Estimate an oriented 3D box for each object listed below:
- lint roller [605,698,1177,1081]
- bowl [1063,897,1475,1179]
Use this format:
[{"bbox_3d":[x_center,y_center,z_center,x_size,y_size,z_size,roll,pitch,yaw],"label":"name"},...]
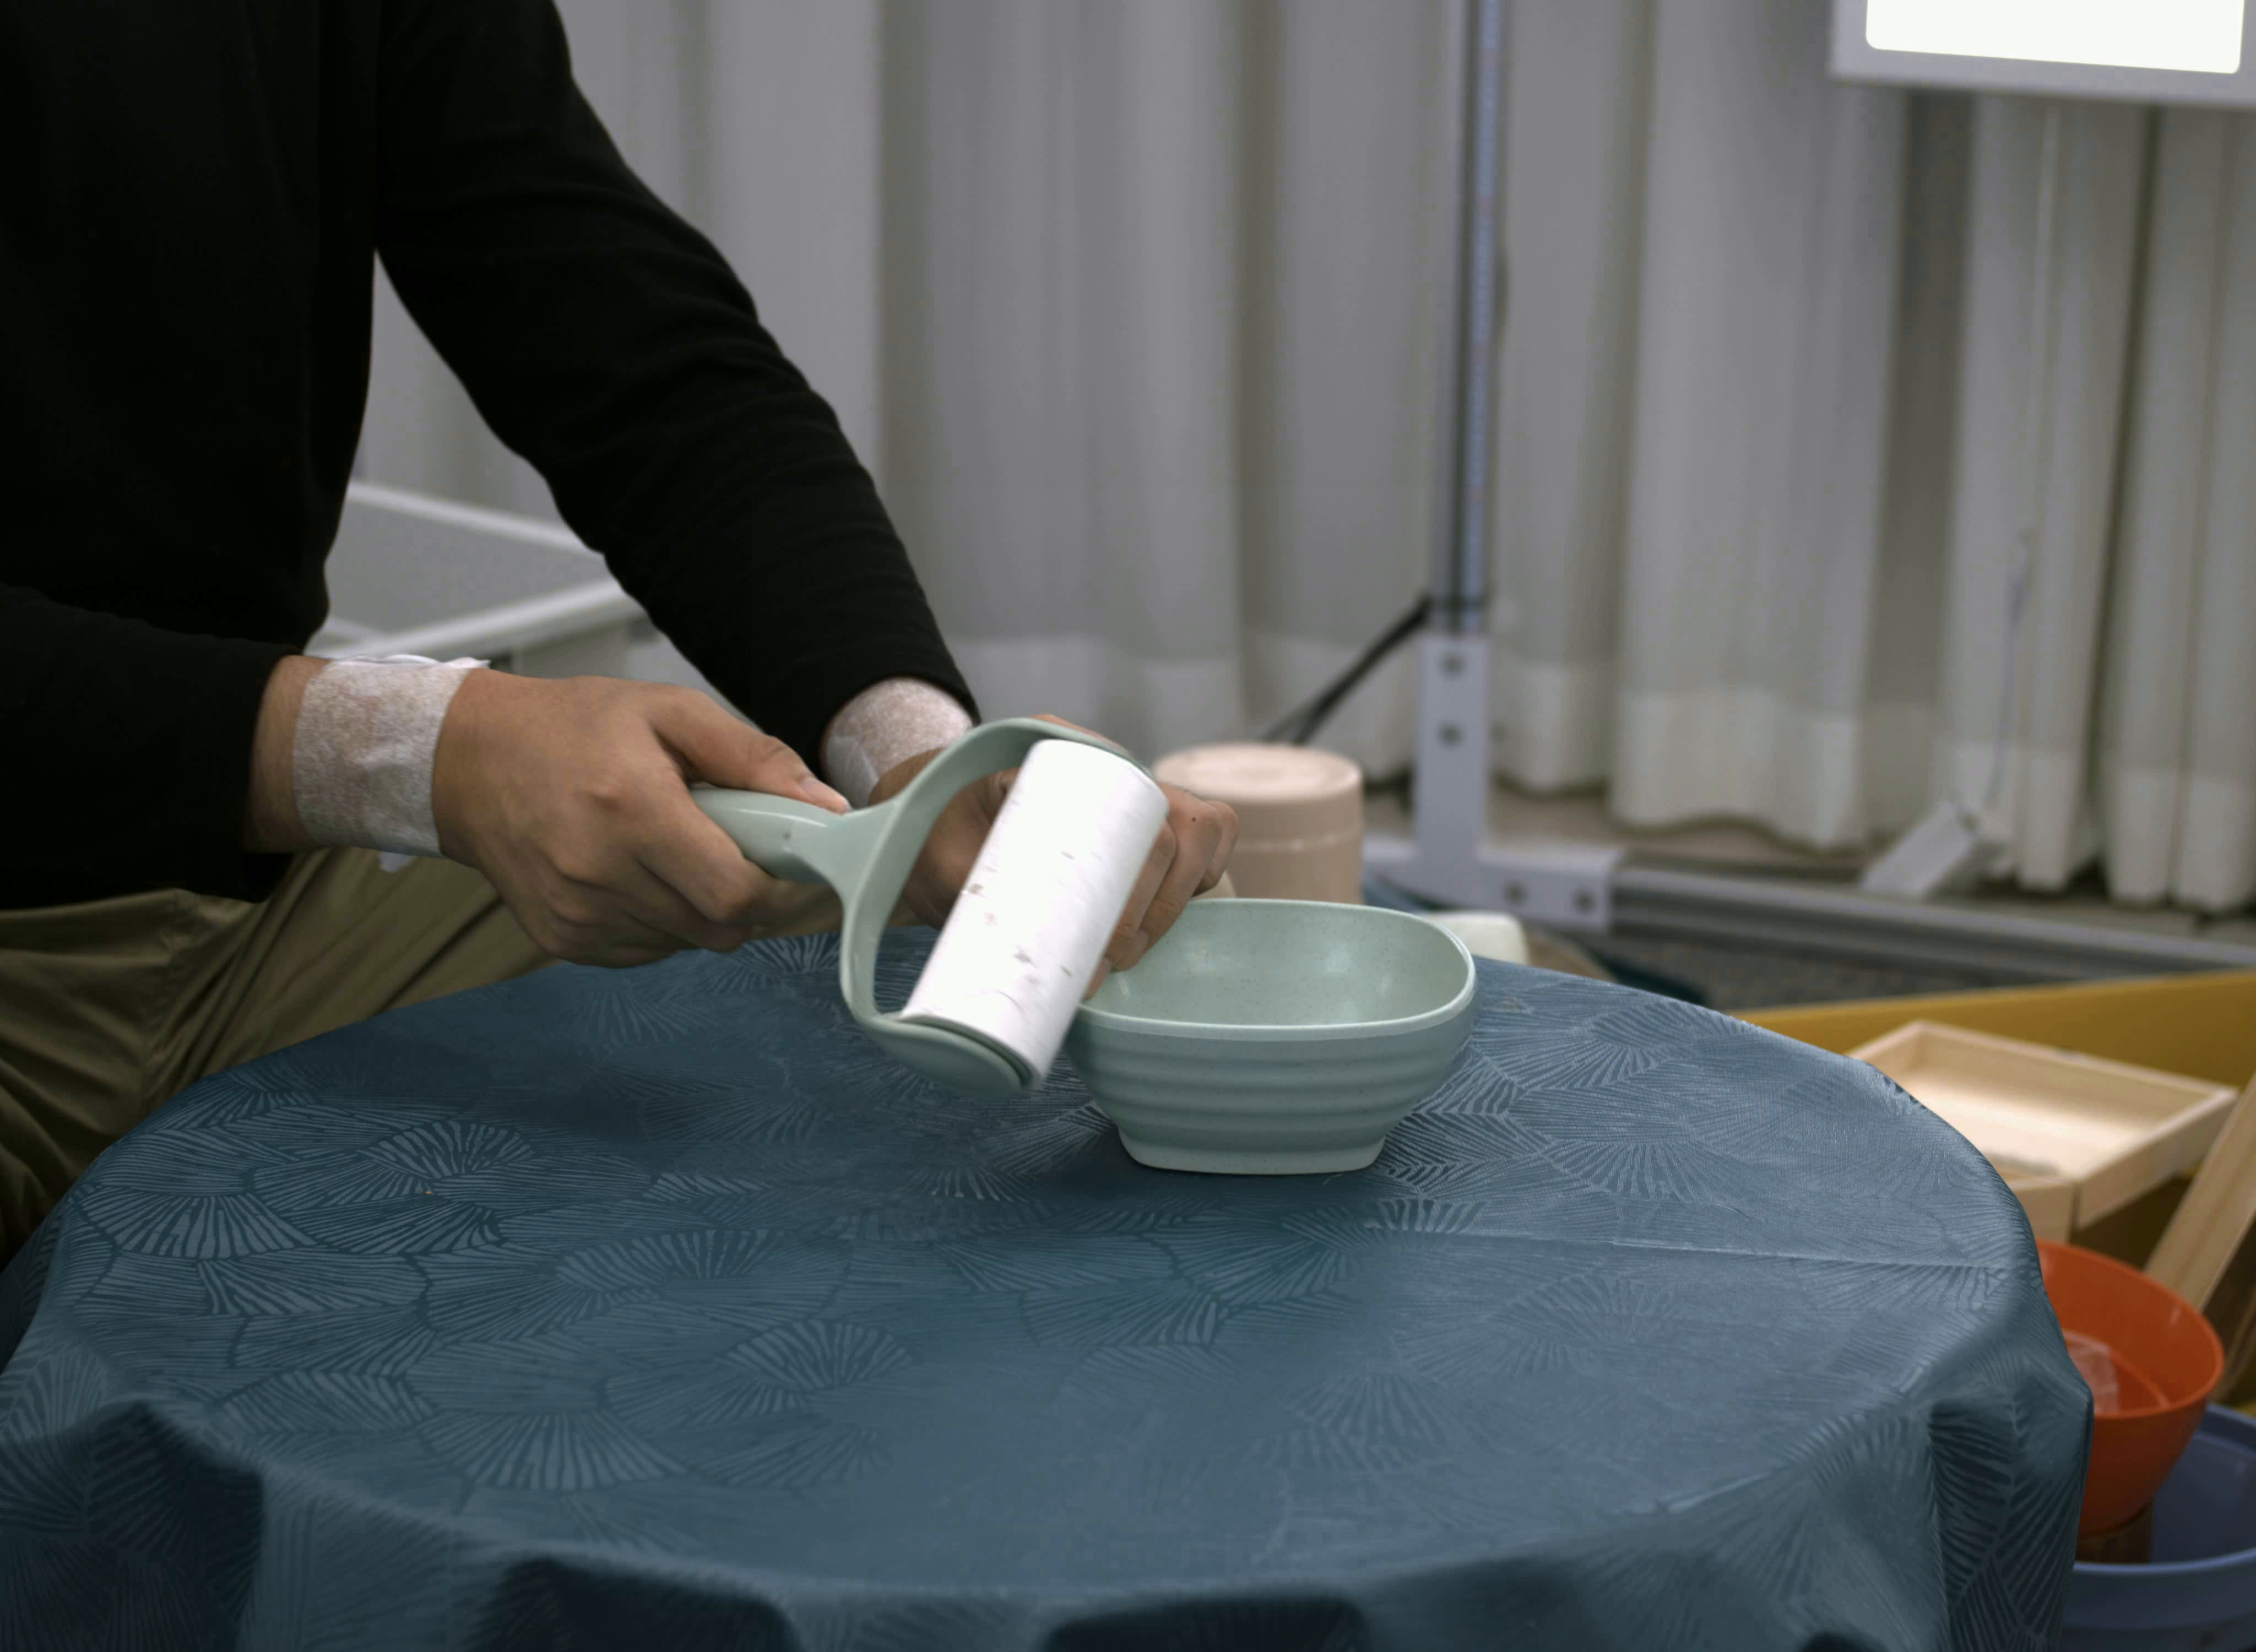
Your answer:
[{"bbox_3d":[-0.086,0.008,1.643,0.195,0.116,0.049,12,-23,29],"label":"lint roller"},{"bbox_3d":[0.039,0.070,1.667,0.151,0.059,0.150,3,16,0],"label":"bowl"}]
